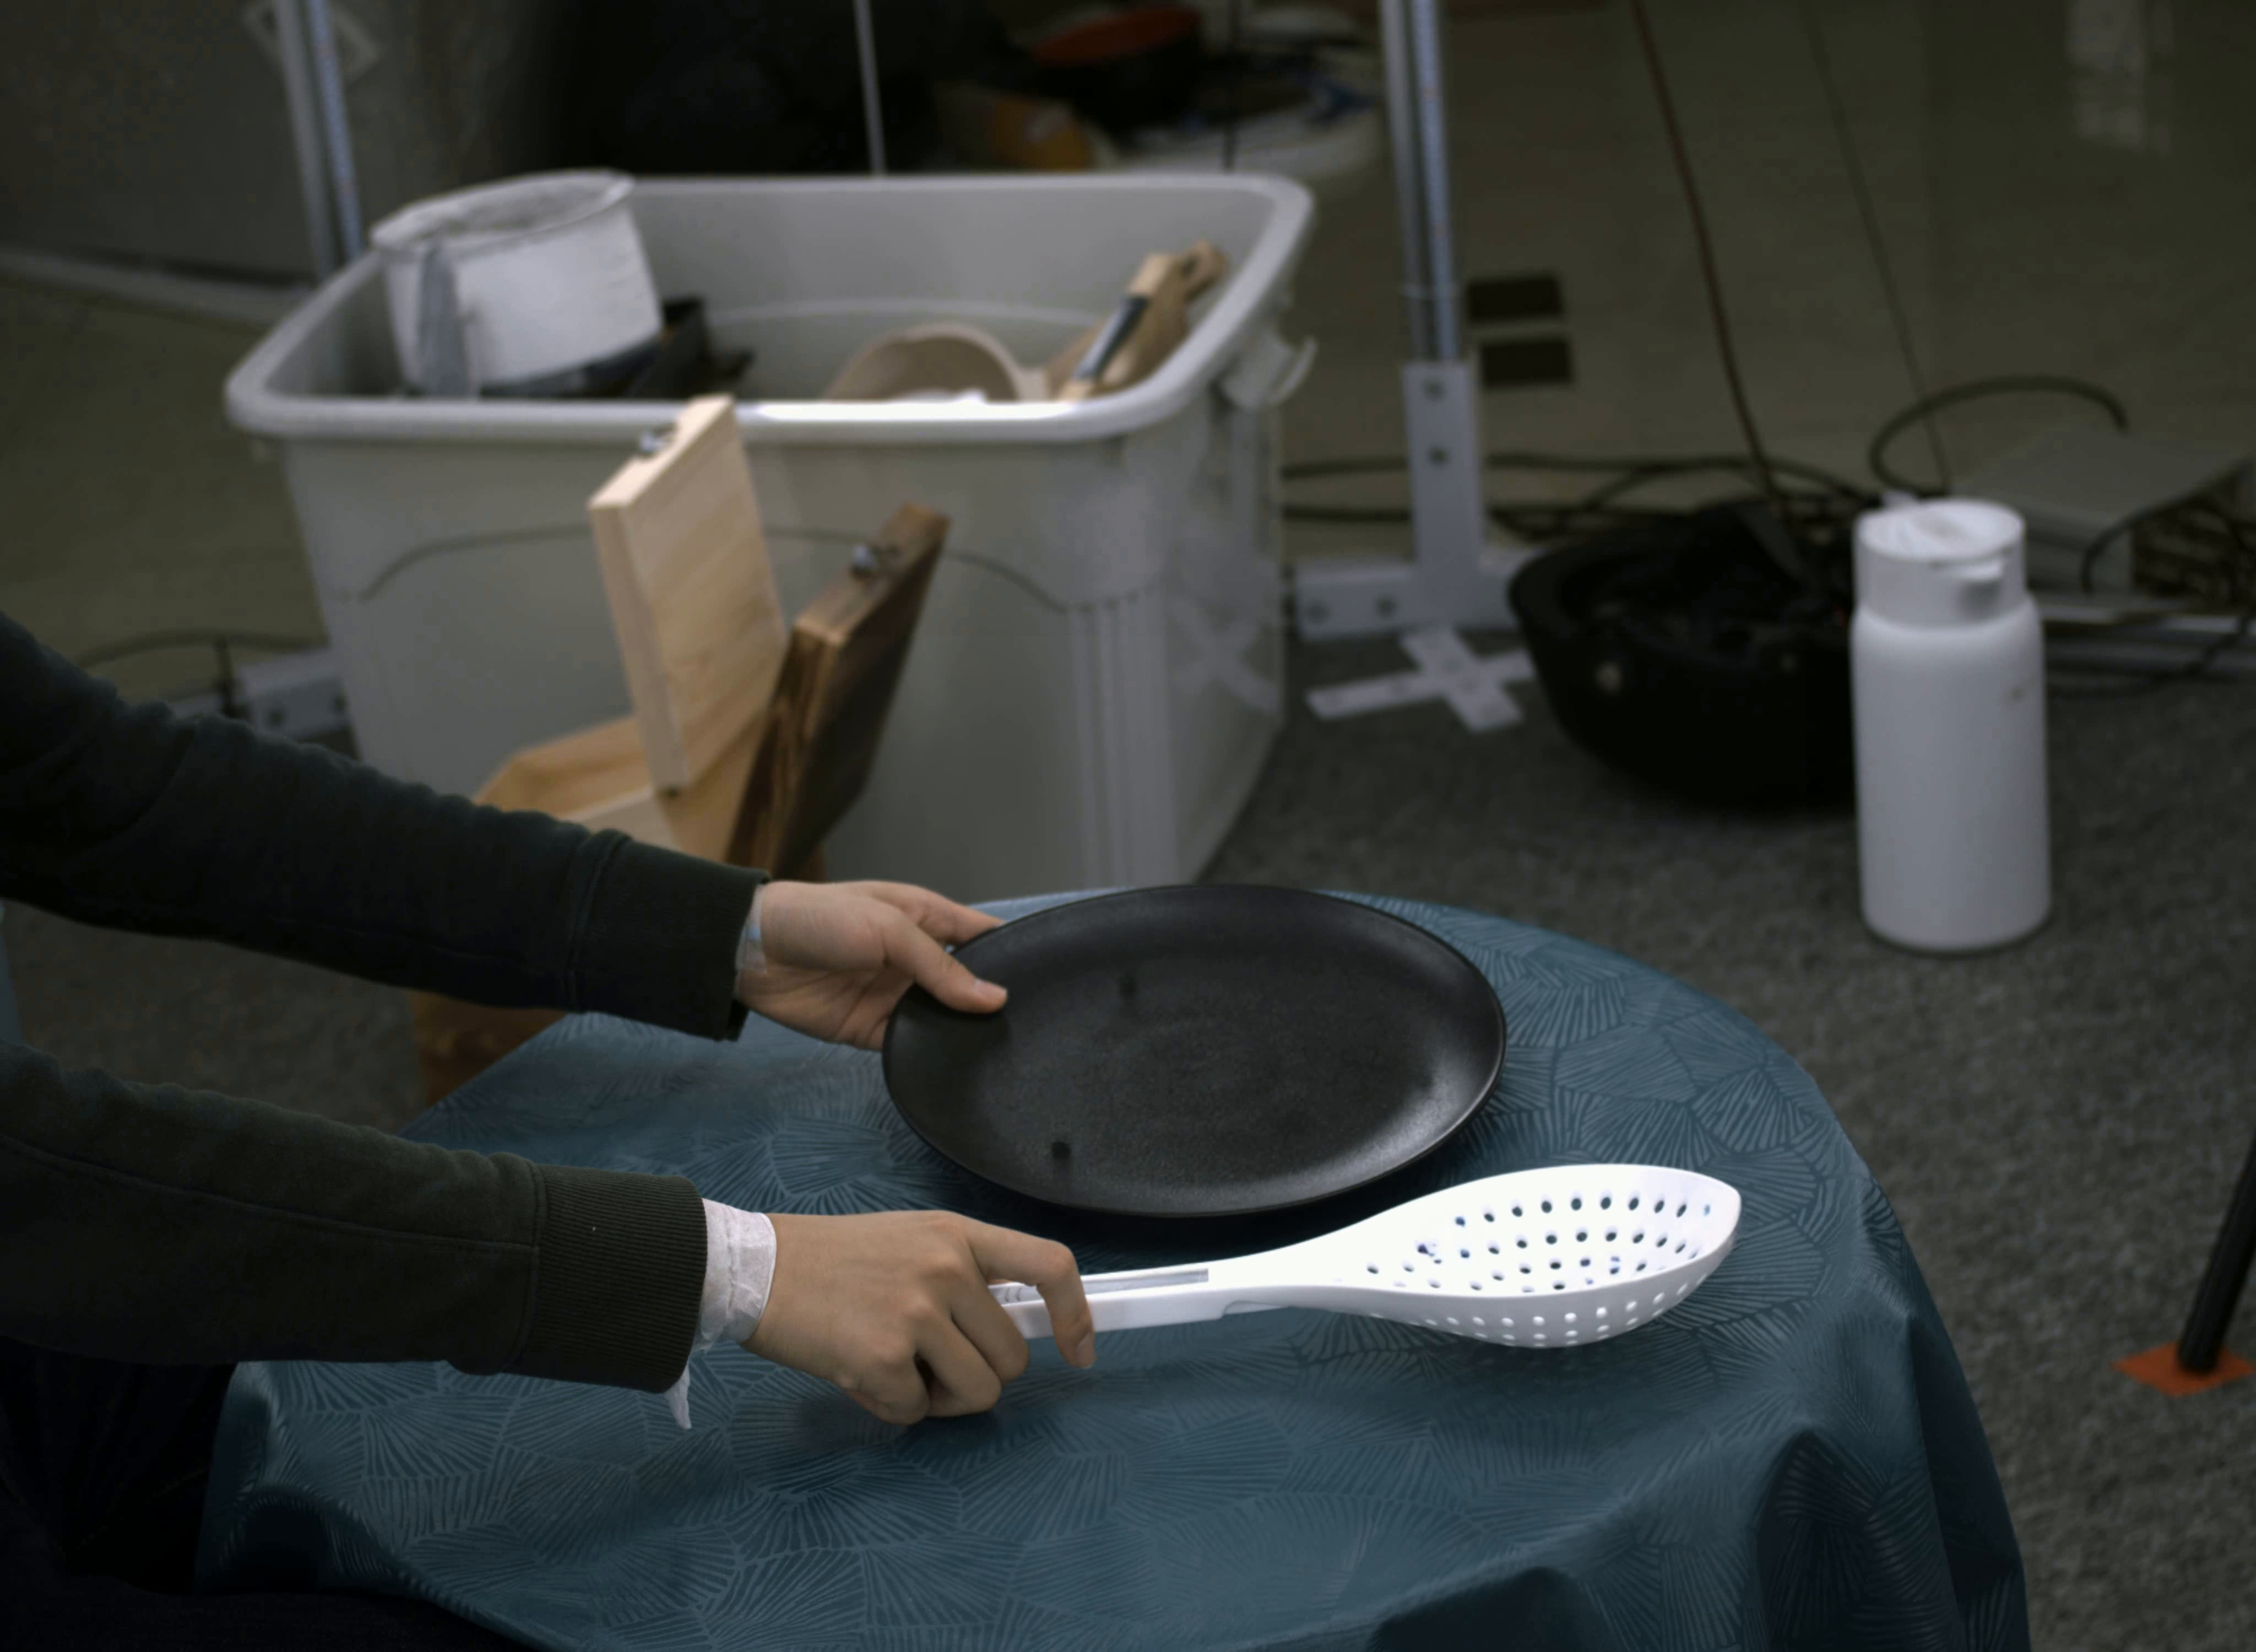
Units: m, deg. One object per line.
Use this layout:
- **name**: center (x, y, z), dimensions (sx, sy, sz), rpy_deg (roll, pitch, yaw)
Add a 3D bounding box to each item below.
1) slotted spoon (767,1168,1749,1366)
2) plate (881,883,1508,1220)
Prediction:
- **slotted spoon**: center (0.045, 0.163, 2.017), dimensions (0.349, 0.046, 0.135), rpy_deg (-2, 14, 1)
- **plate**: center (0.026, 0.092, 2.198), dimensions (0.244, 0.024, 0.240), rpy_deg (-2, 30, 1)
